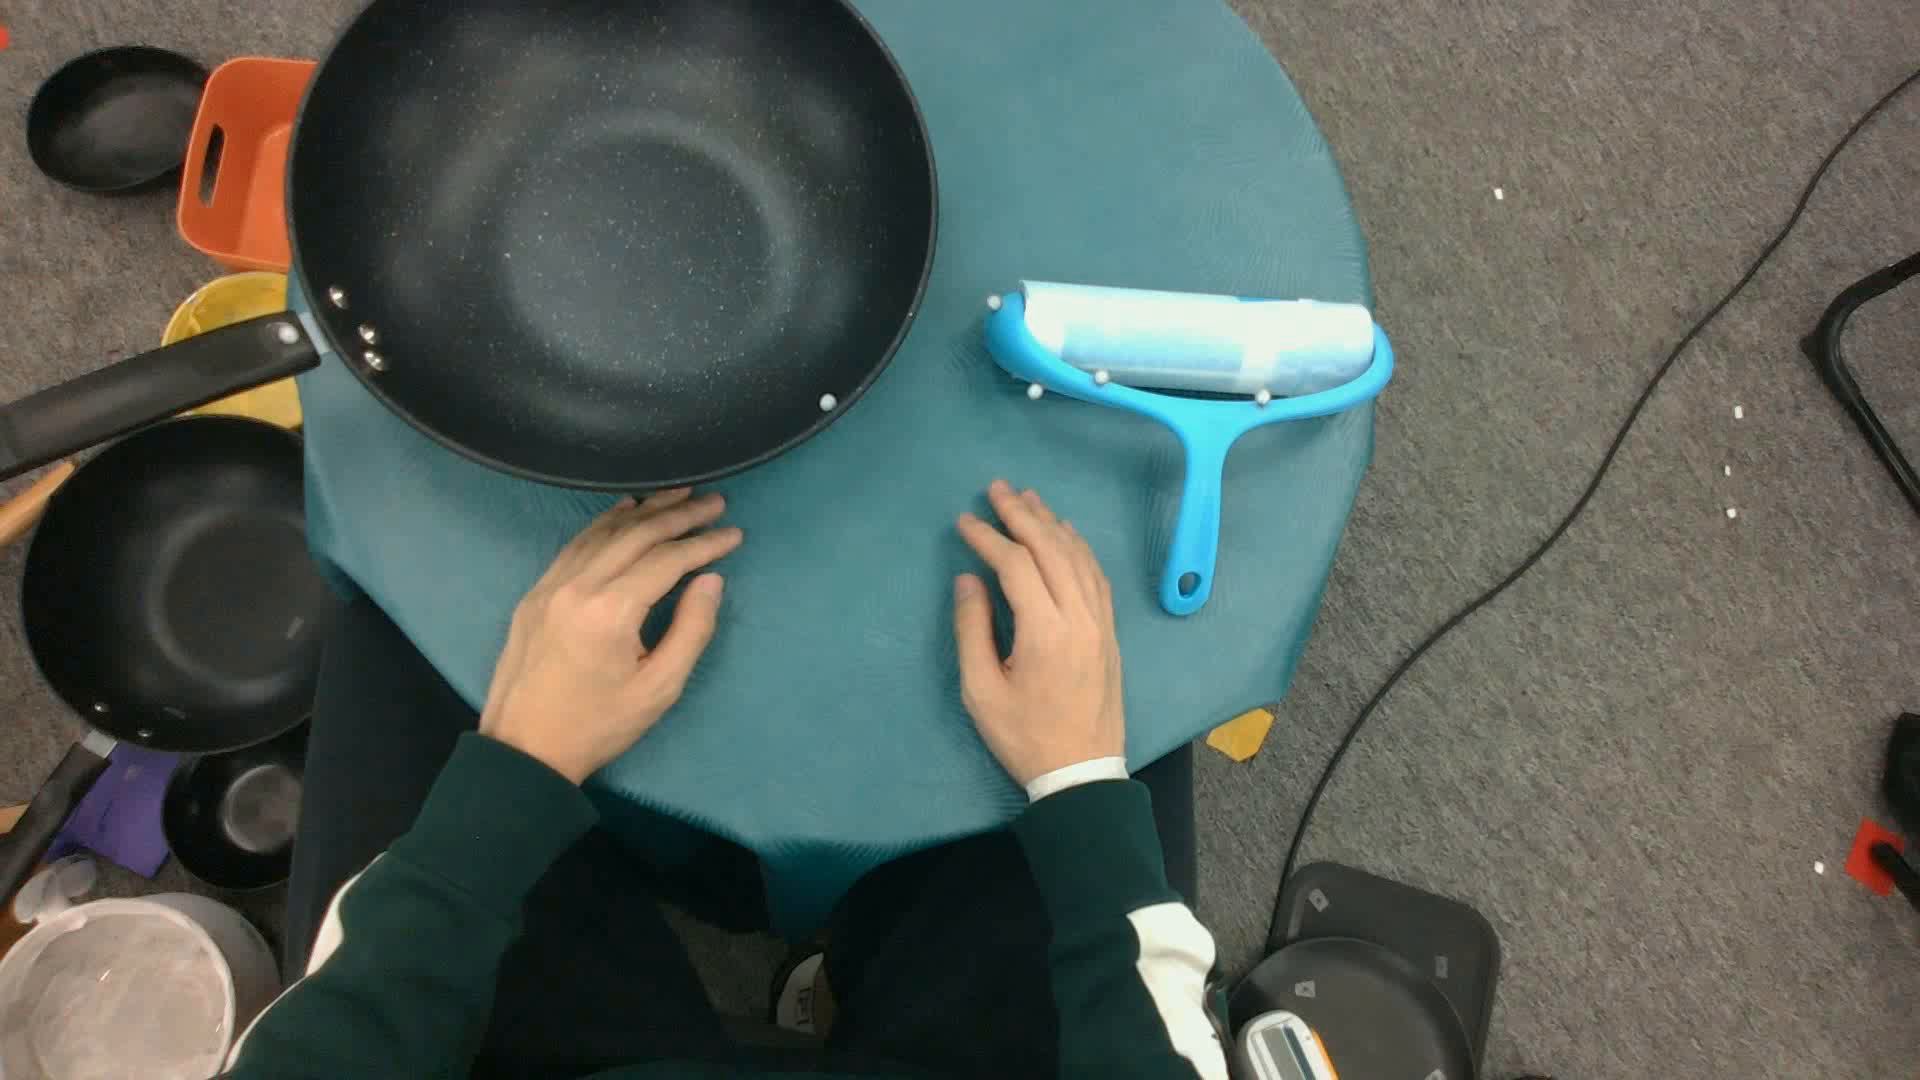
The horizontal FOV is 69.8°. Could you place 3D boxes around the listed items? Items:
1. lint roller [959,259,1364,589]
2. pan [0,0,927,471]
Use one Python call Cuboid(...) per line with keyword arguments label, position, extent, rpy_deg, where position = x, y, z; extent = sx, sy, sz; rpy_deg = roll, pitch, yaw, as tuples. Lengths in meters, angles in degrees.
Cuboid(label="lint roller", position=(0.117, -0.068, 0.749), extent=(0.229, 0.067, 0.180), rpy_deg=(-2, 76, -12))
Cuboid(label="pan", position=(-0.243, -0.135, 0.679), extent=(0.478, 0.111, 0.310), rpy_deg=(-31, 82, -15))
